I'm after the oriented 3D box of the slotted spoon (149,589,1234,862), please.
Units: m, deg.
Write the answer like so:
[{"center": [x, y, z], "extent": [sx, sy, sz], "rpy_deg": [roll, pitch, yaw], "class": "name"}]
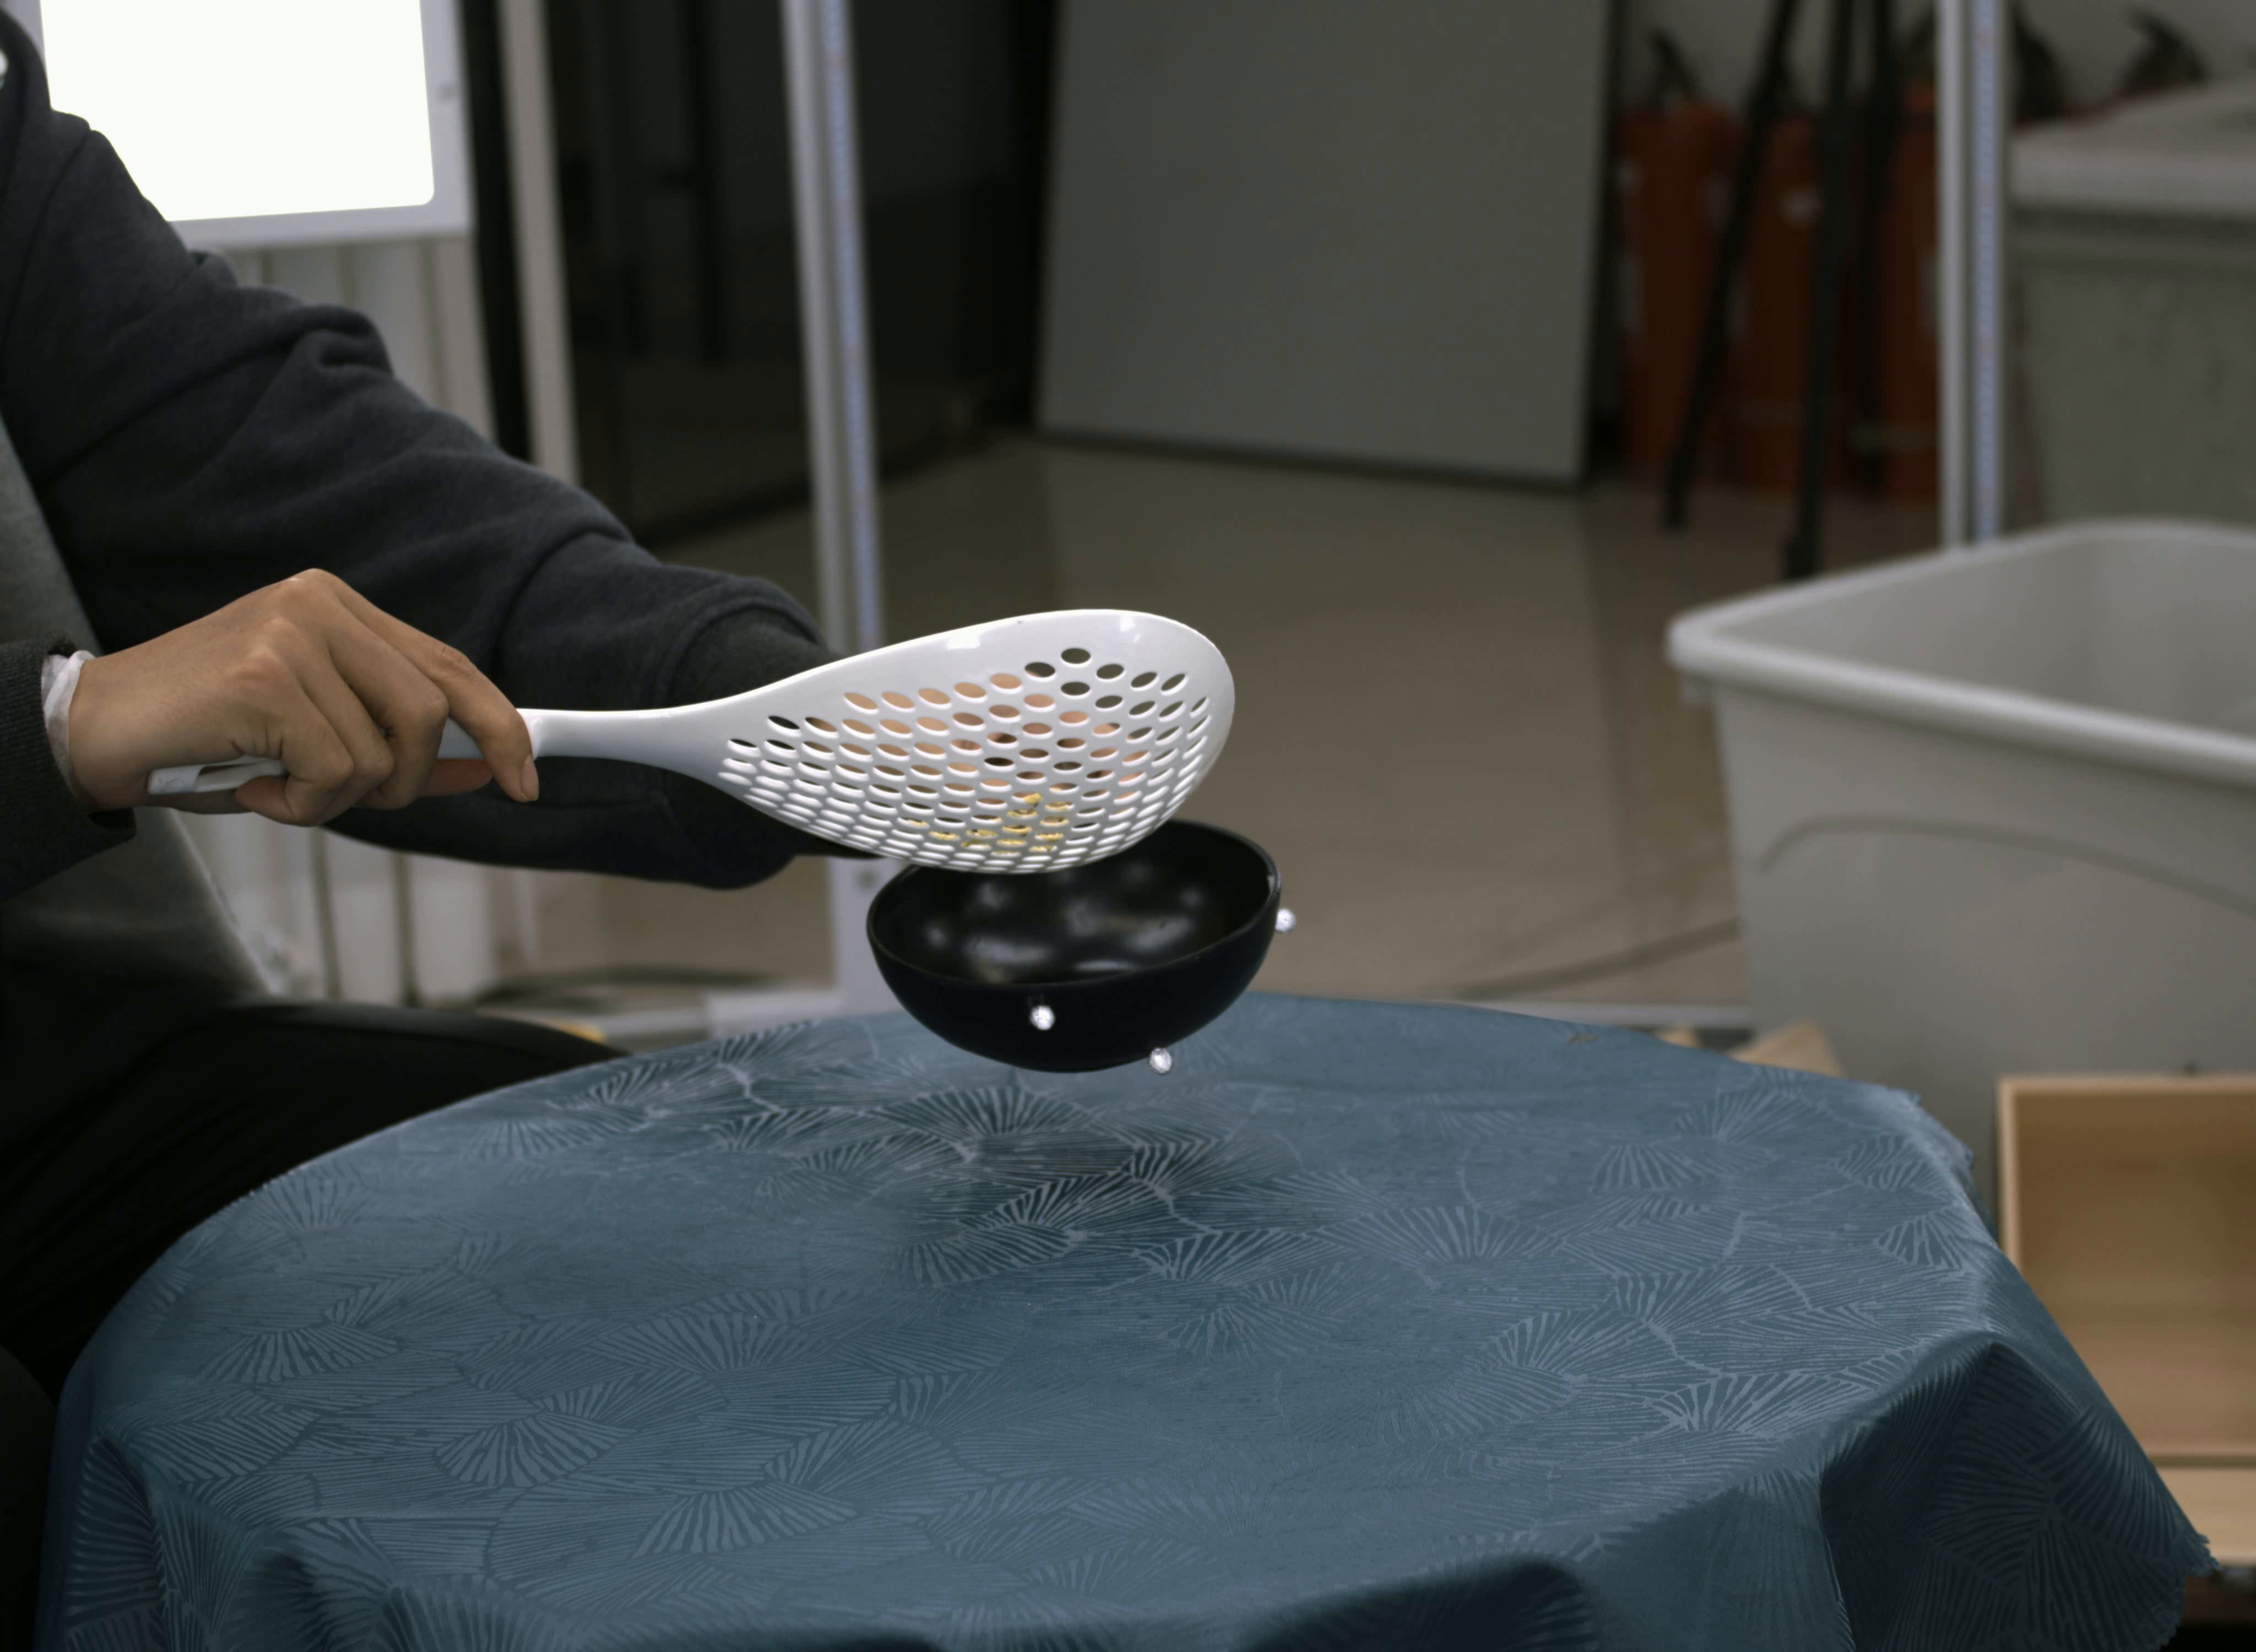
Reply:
[{"center": [-0.132, -0.024, 1.682], "extent": [0.341, 0.051, 0.138], "rpy_deg": [3, -34, -15], "class": "slotted spoon"}]
